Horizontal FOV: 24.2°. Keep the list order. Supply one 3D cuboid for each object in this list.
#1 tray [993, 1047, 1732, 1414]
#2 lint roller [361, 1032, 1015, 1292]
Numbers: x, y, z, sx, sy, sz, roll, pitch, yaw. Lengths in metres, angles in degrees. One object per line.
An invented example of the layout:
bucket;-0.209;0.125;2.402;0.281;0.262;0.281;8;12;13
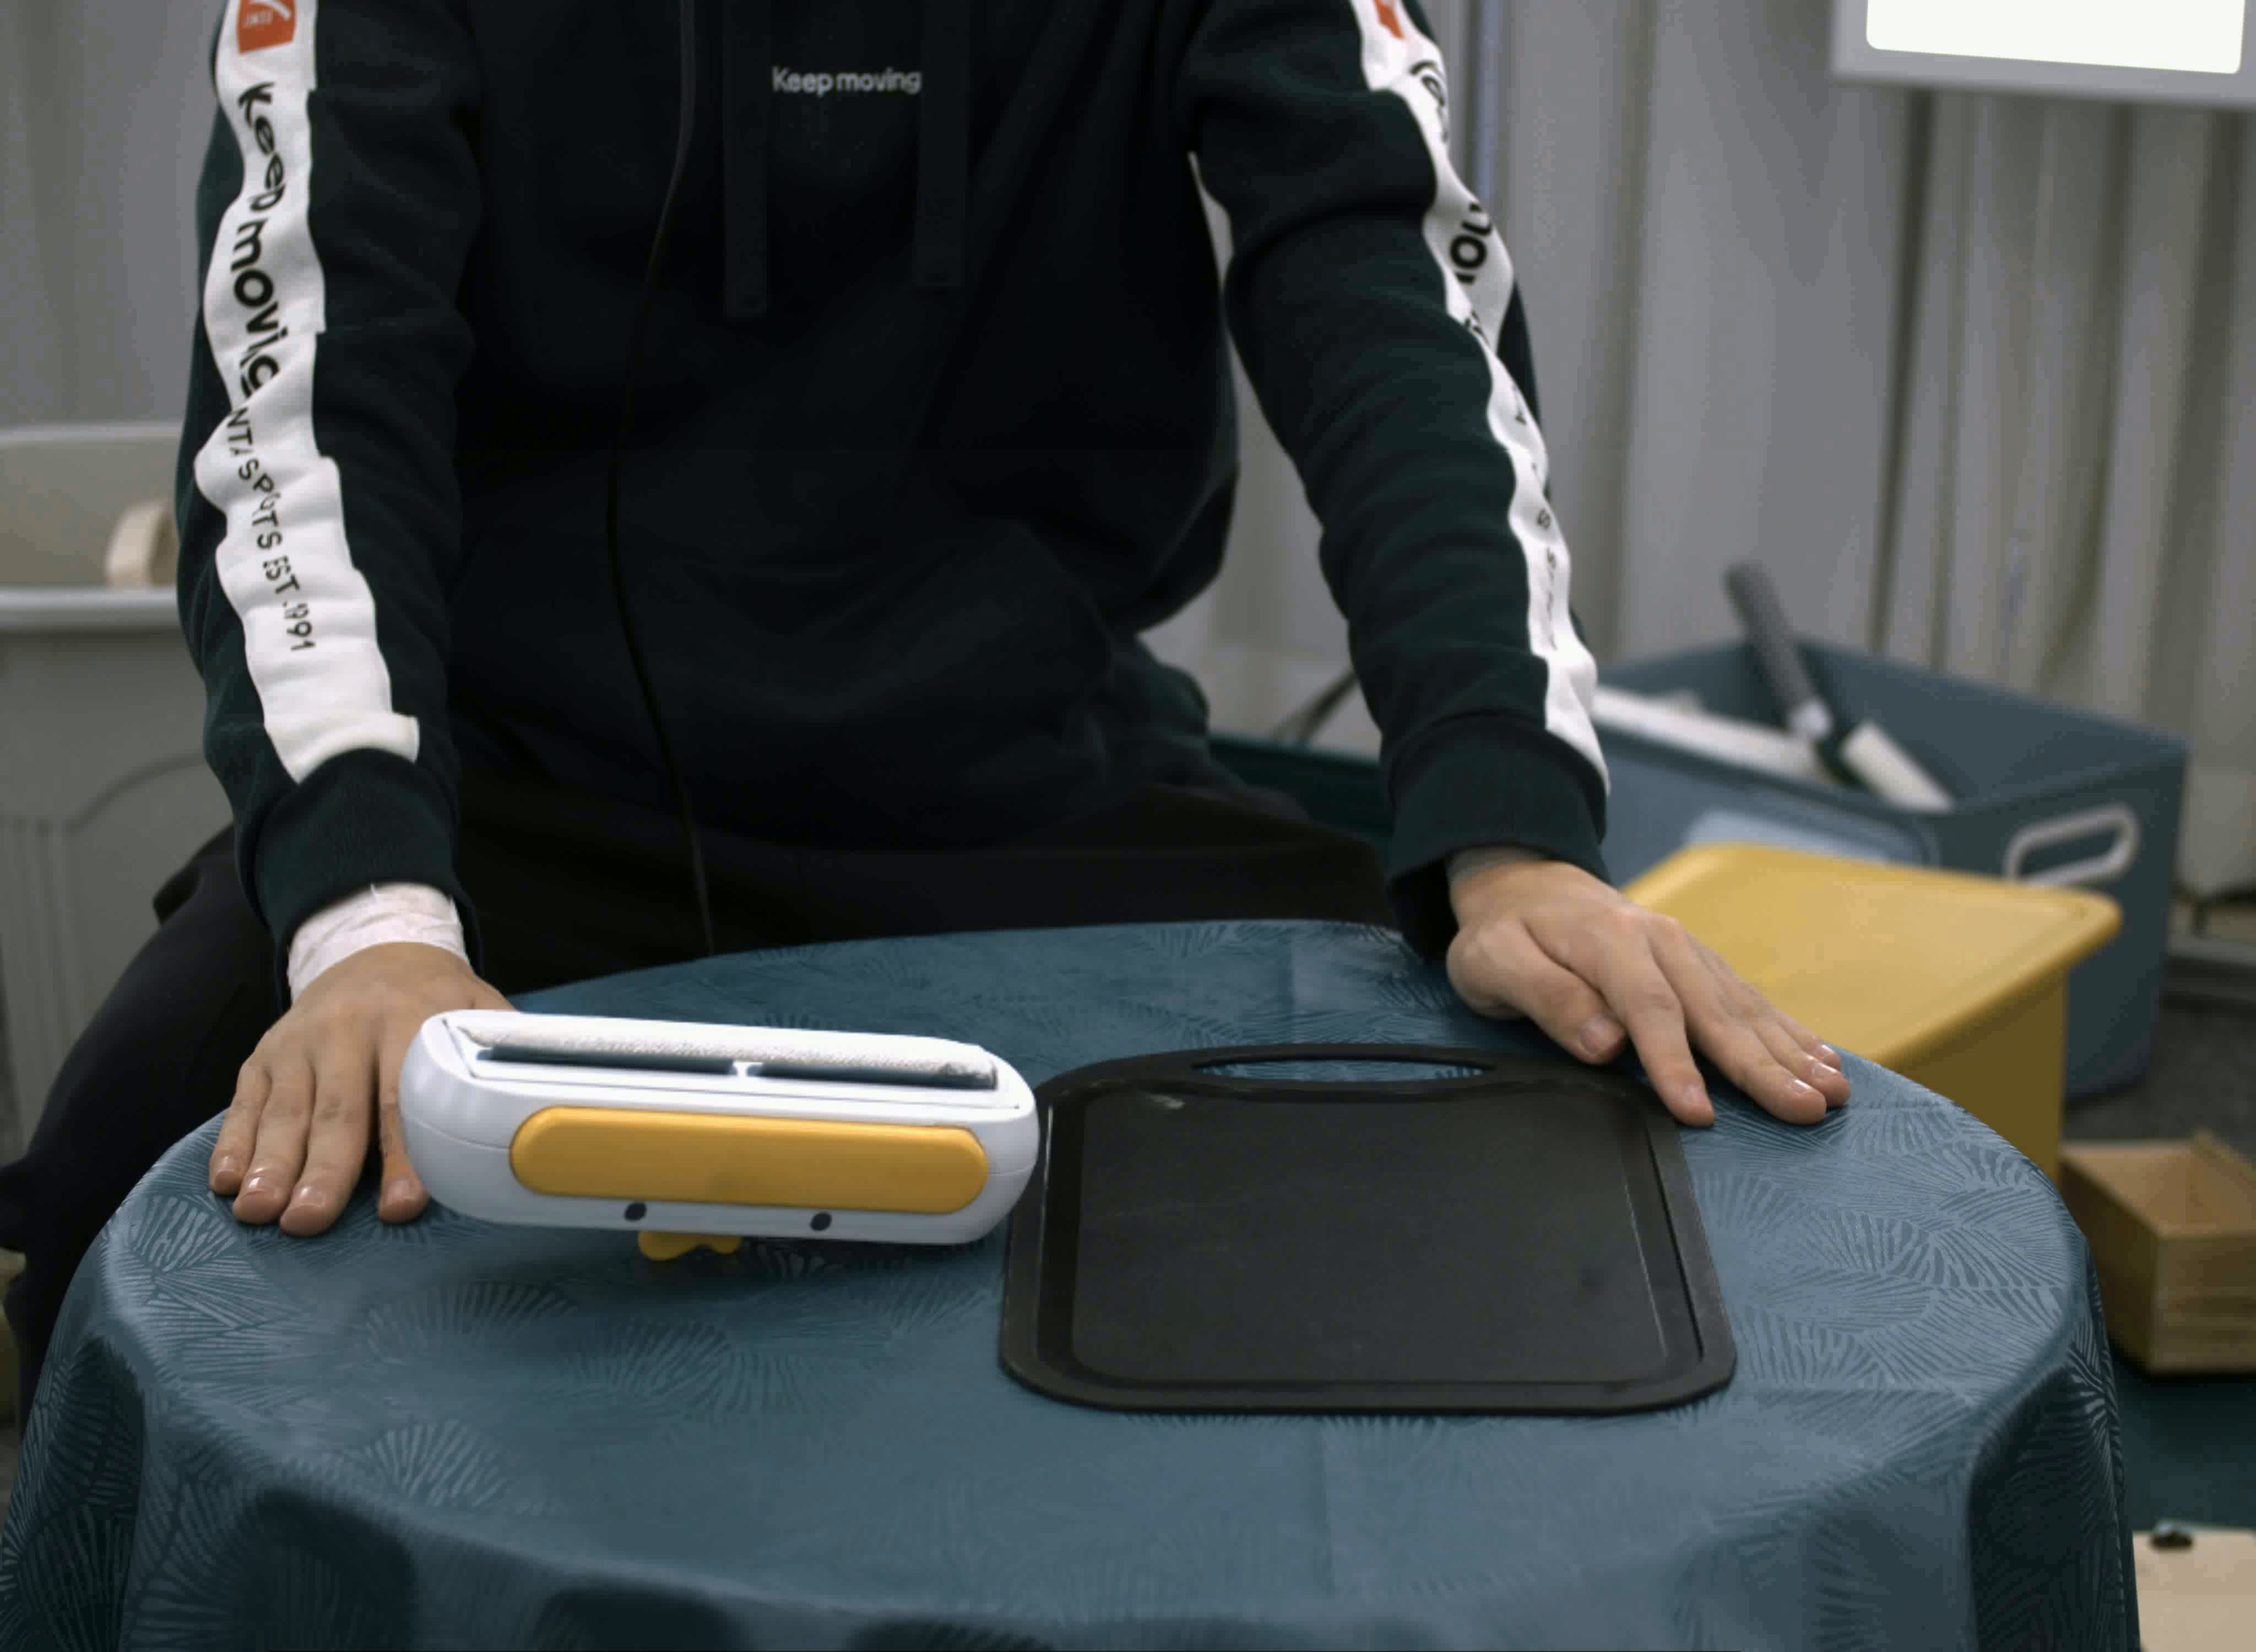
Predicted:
tray;0.068;0.116;1.597;0.210;0.010;0.324;1;15;1
lint roller;-0.144;0.101;1.601;0.193;0.074;0.191;3;-1;-17
